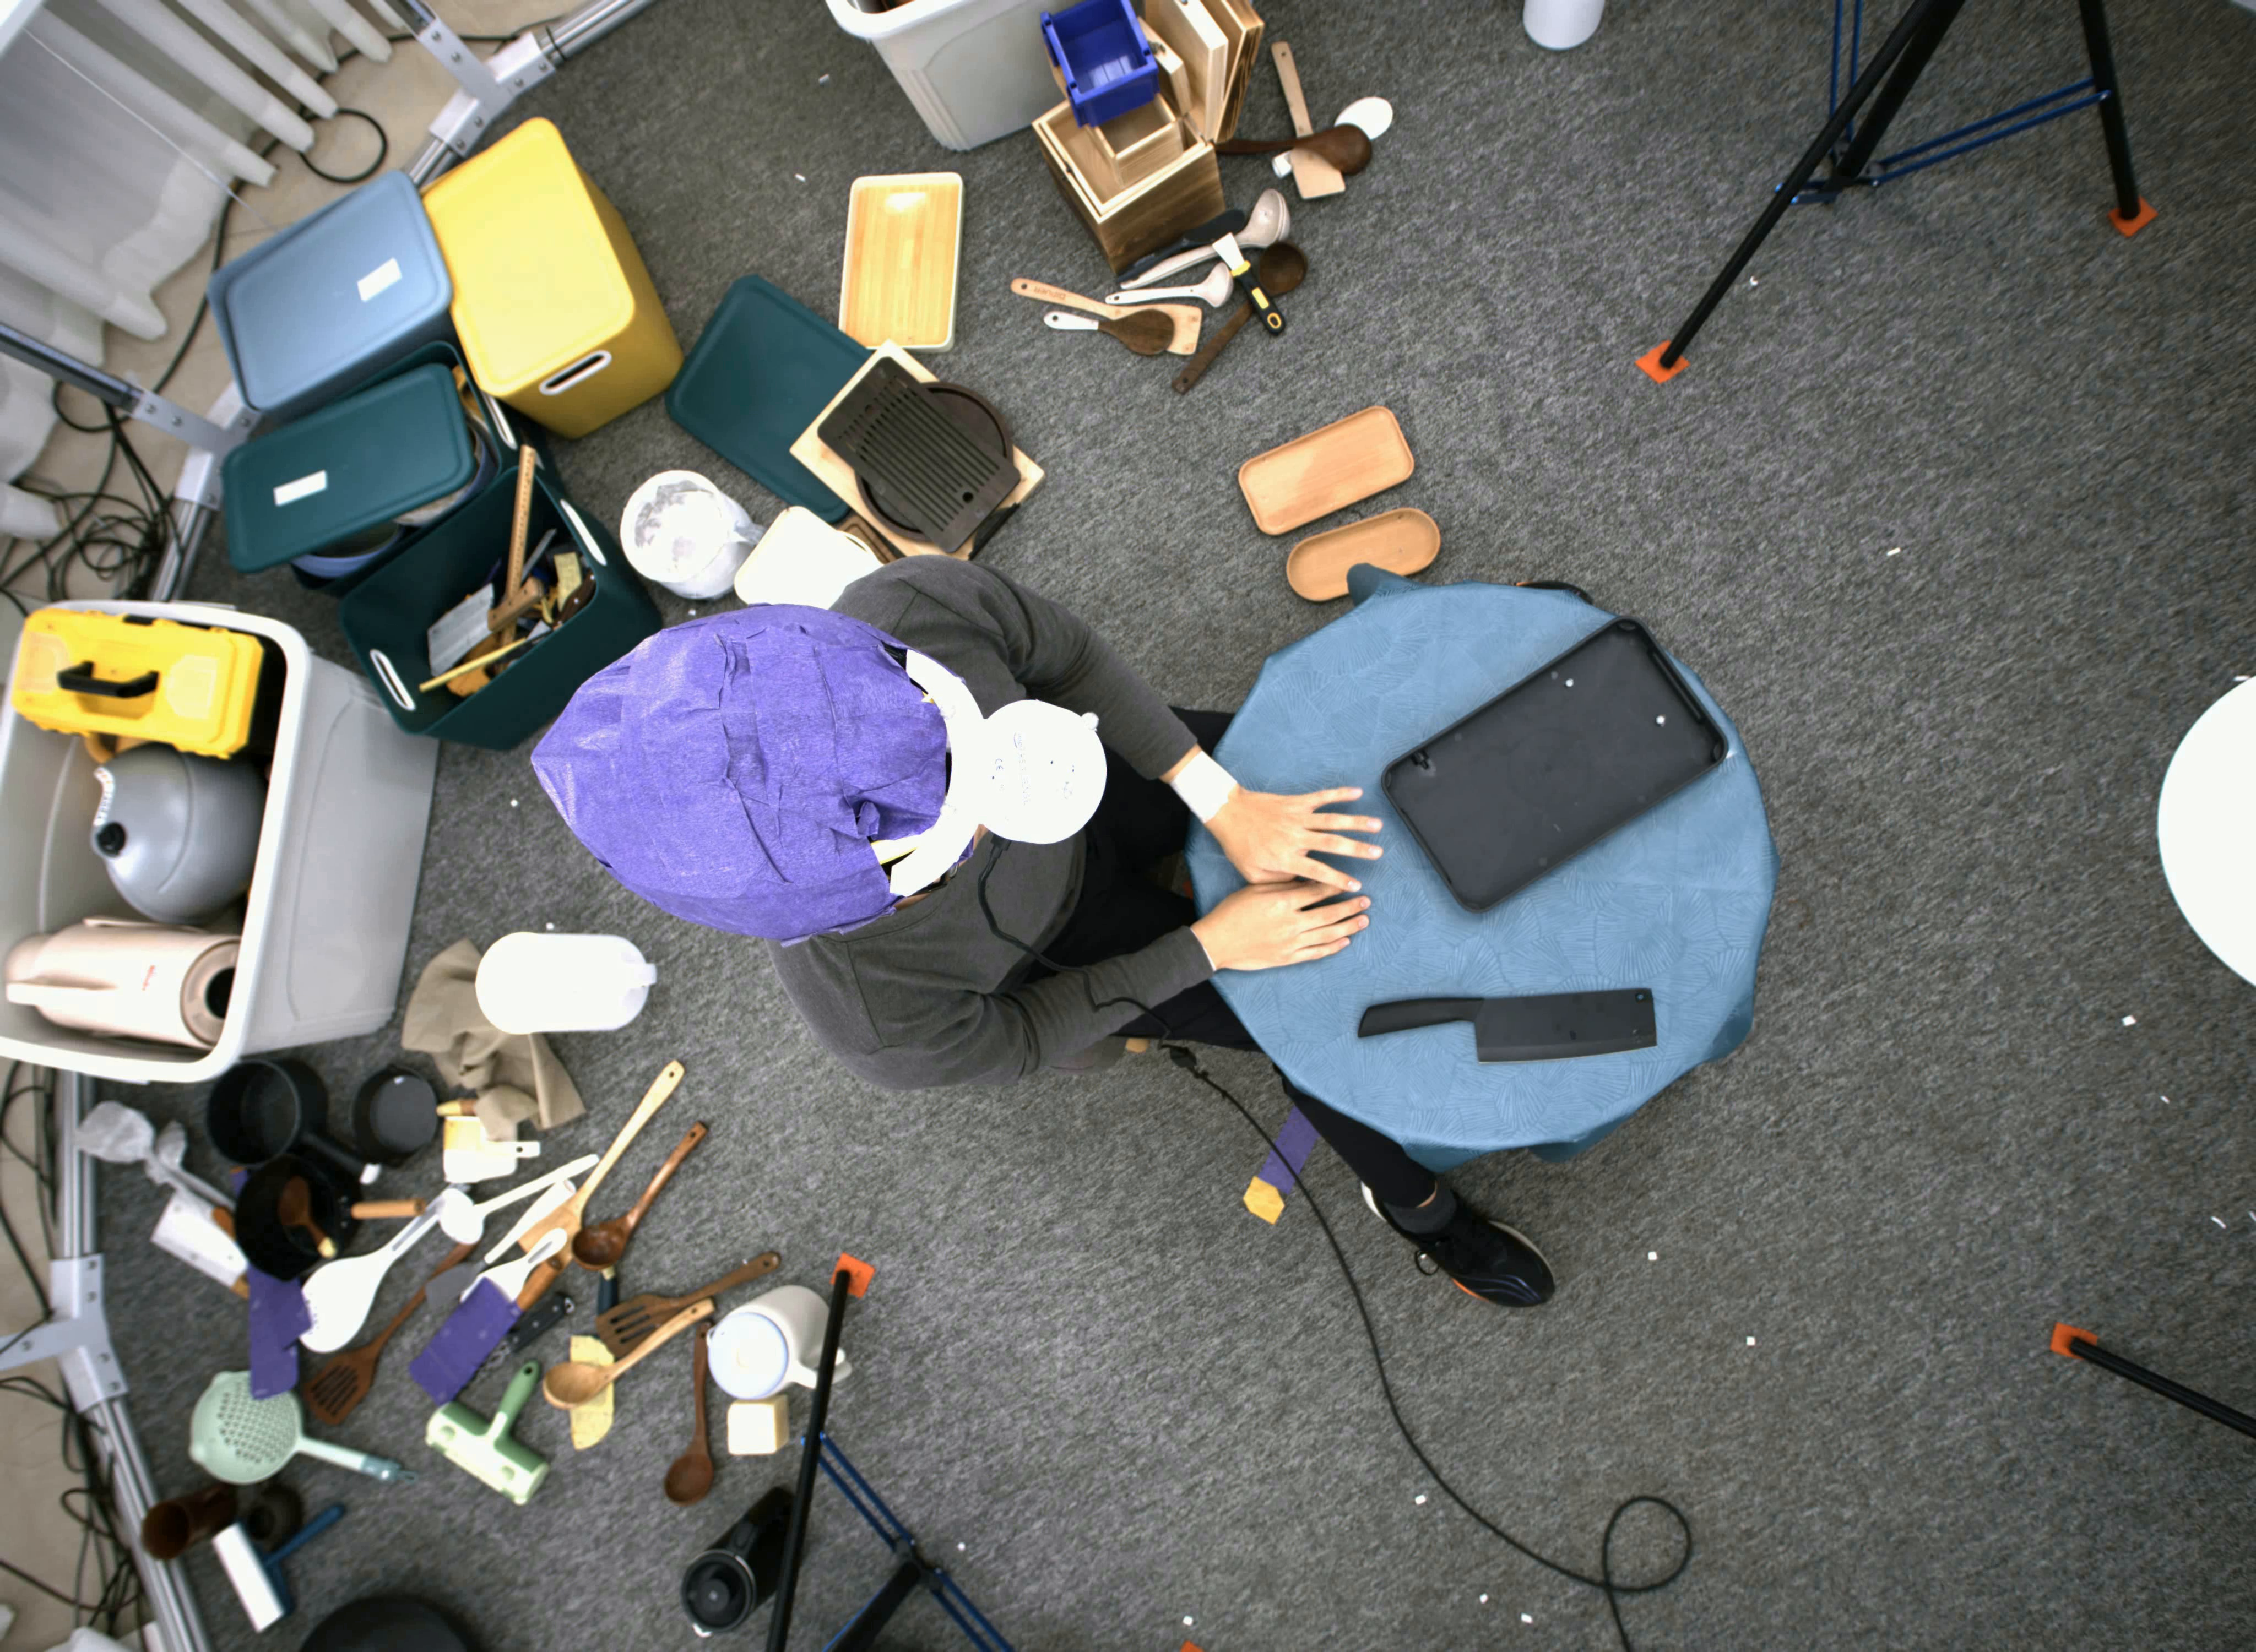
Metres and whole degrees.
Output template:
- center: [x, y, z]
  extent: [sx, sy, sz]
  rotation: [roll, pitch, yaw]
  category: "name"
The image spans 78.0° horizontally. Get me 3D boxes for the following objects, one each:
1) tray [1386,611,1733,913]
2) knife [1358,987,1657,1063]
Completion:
- center: [0.442, -0.067, 1.417]
  extent: [0.320, 0.037, 0.183]
  rotation: [-35, 81, 7]
  category: "tray"
- center: [0.391, 0.203, 1.423]
  extent: [0.303, 0.021, 0.080]
  rotation: [-1, 88, 9]
  category: "knife"
